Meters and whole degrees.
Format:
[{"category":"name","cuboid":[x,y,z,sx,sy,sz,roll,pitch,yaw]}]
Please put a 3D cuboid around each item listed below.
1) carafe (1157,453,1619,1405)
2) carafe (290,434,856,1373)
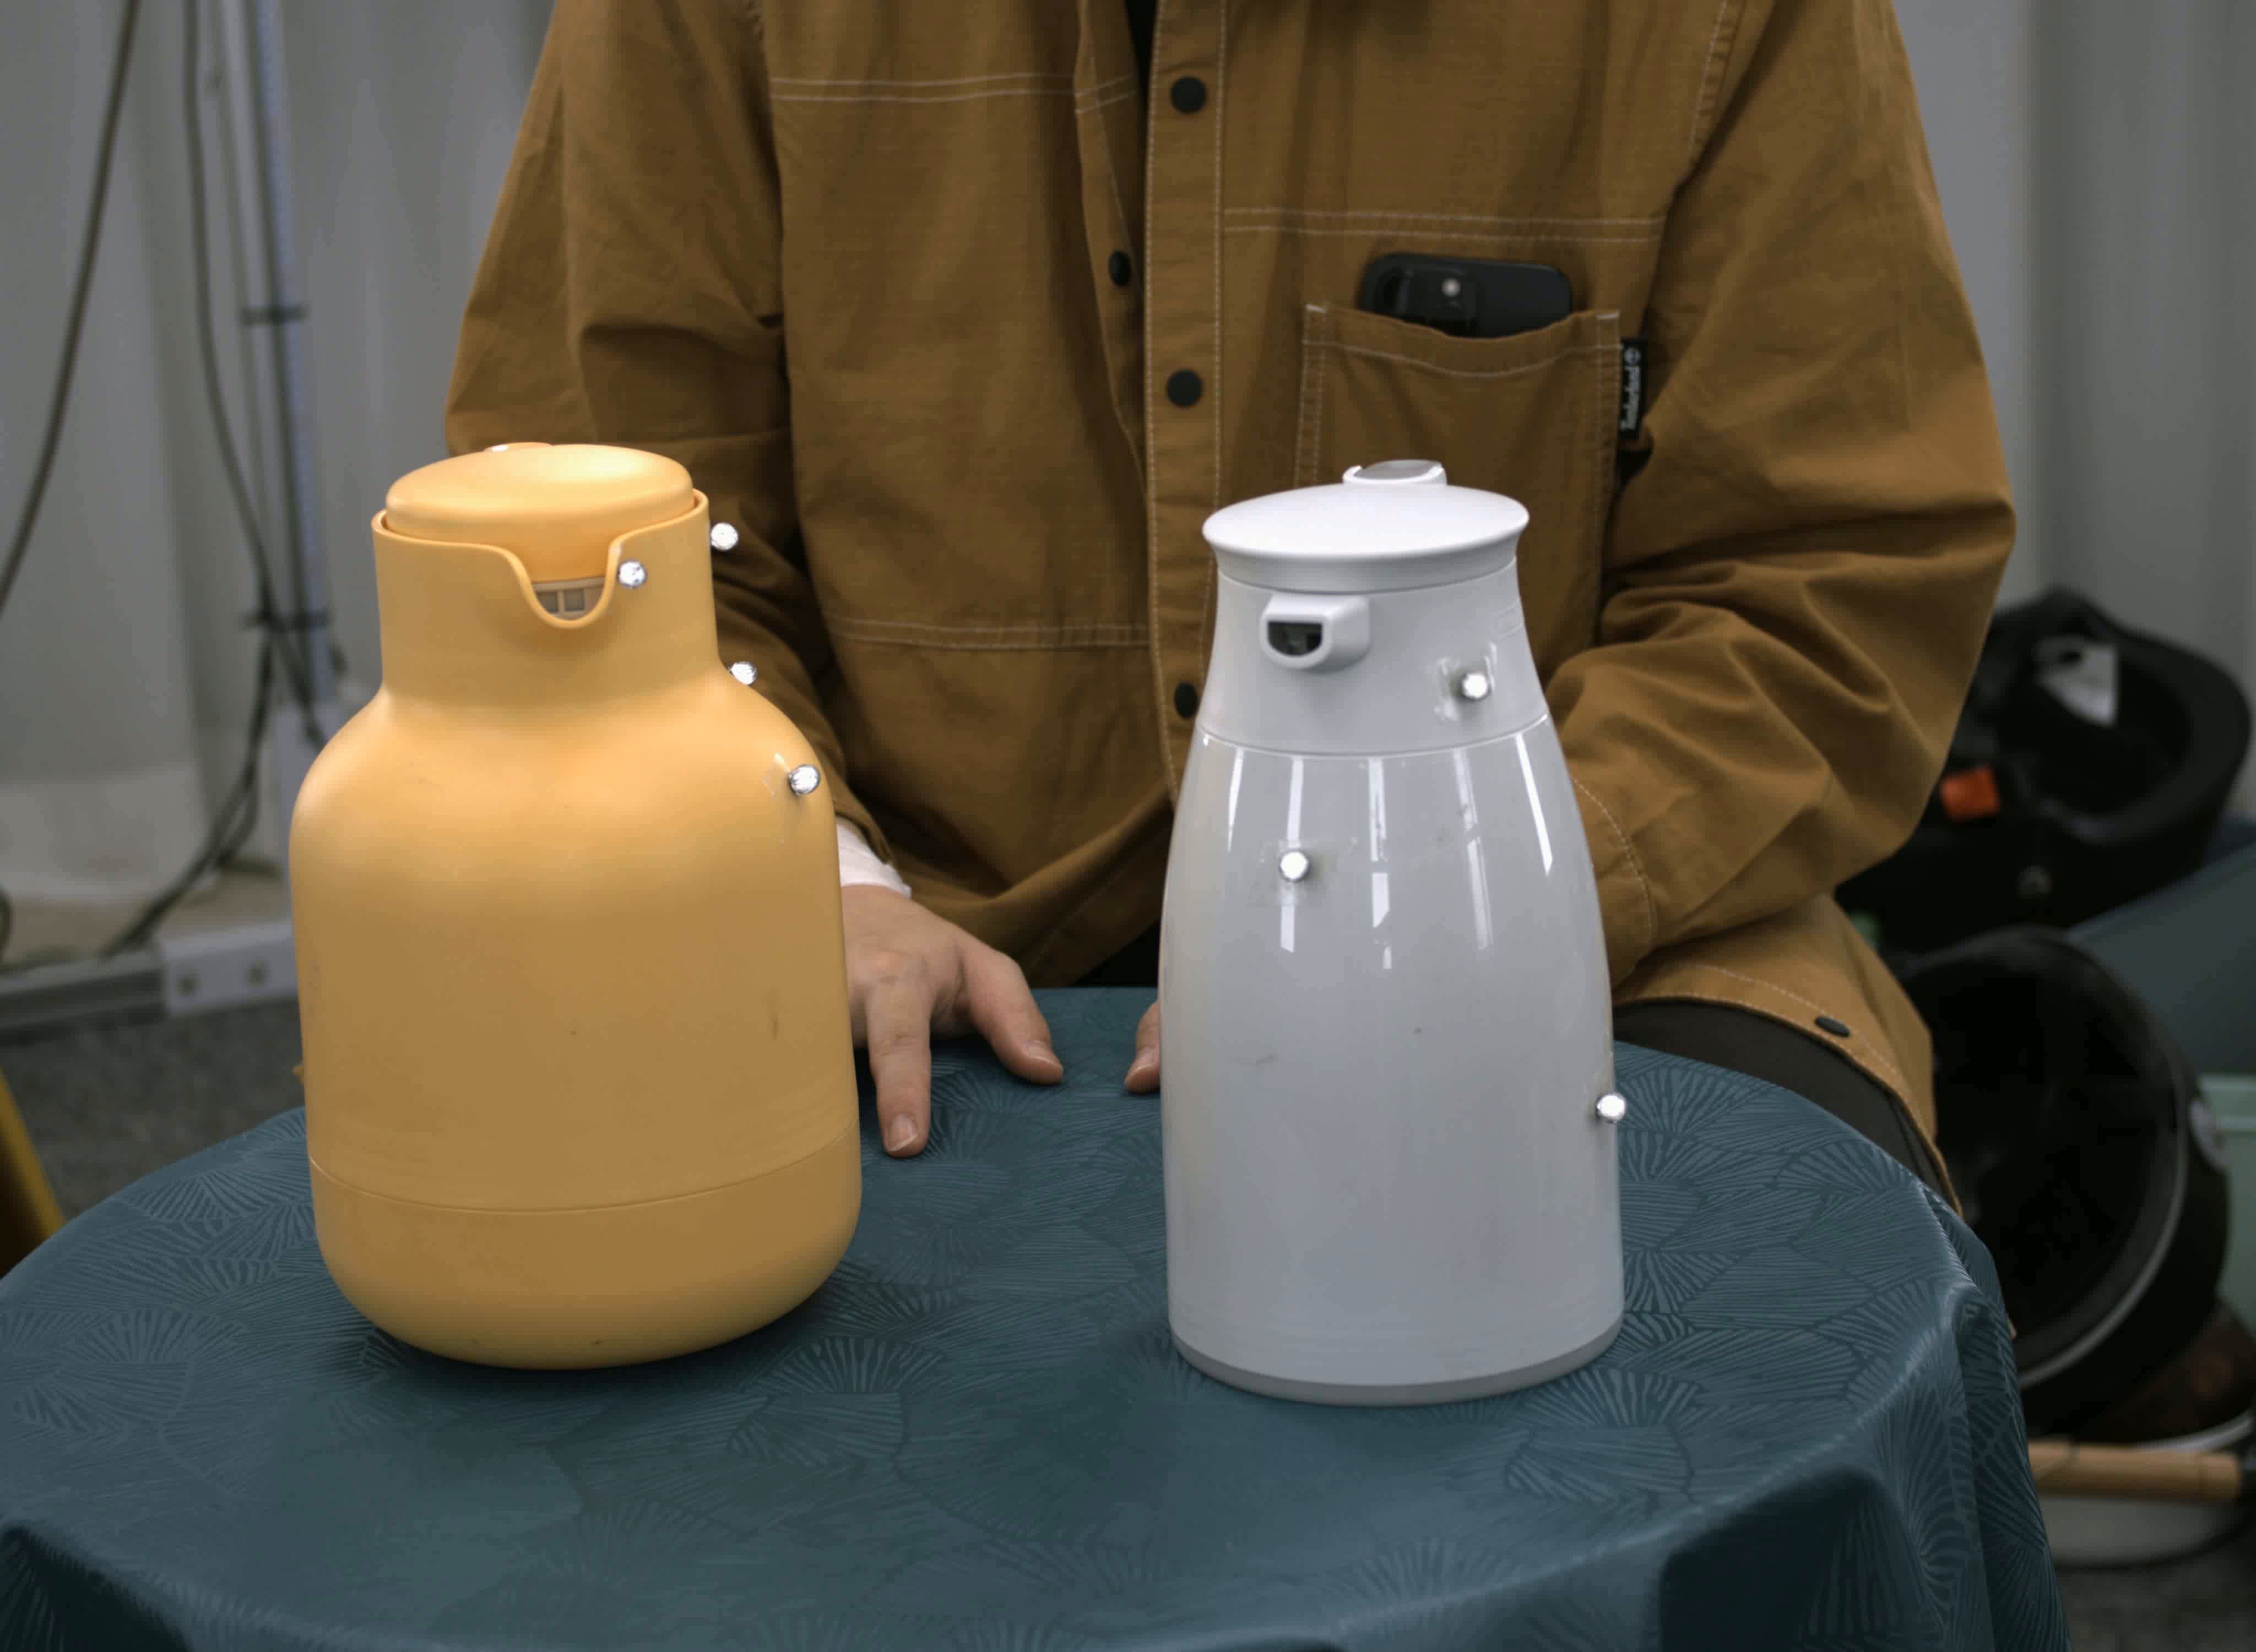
[{"category":"carafe","cuboid":[0.077,0.020,1.572,0.132,0.248,0.168,3,15,20]},{"category":"carafe","cuboid":[-0.166,0.014,1.623,0.163,0.259,0.204,-3,15,-9]}]
